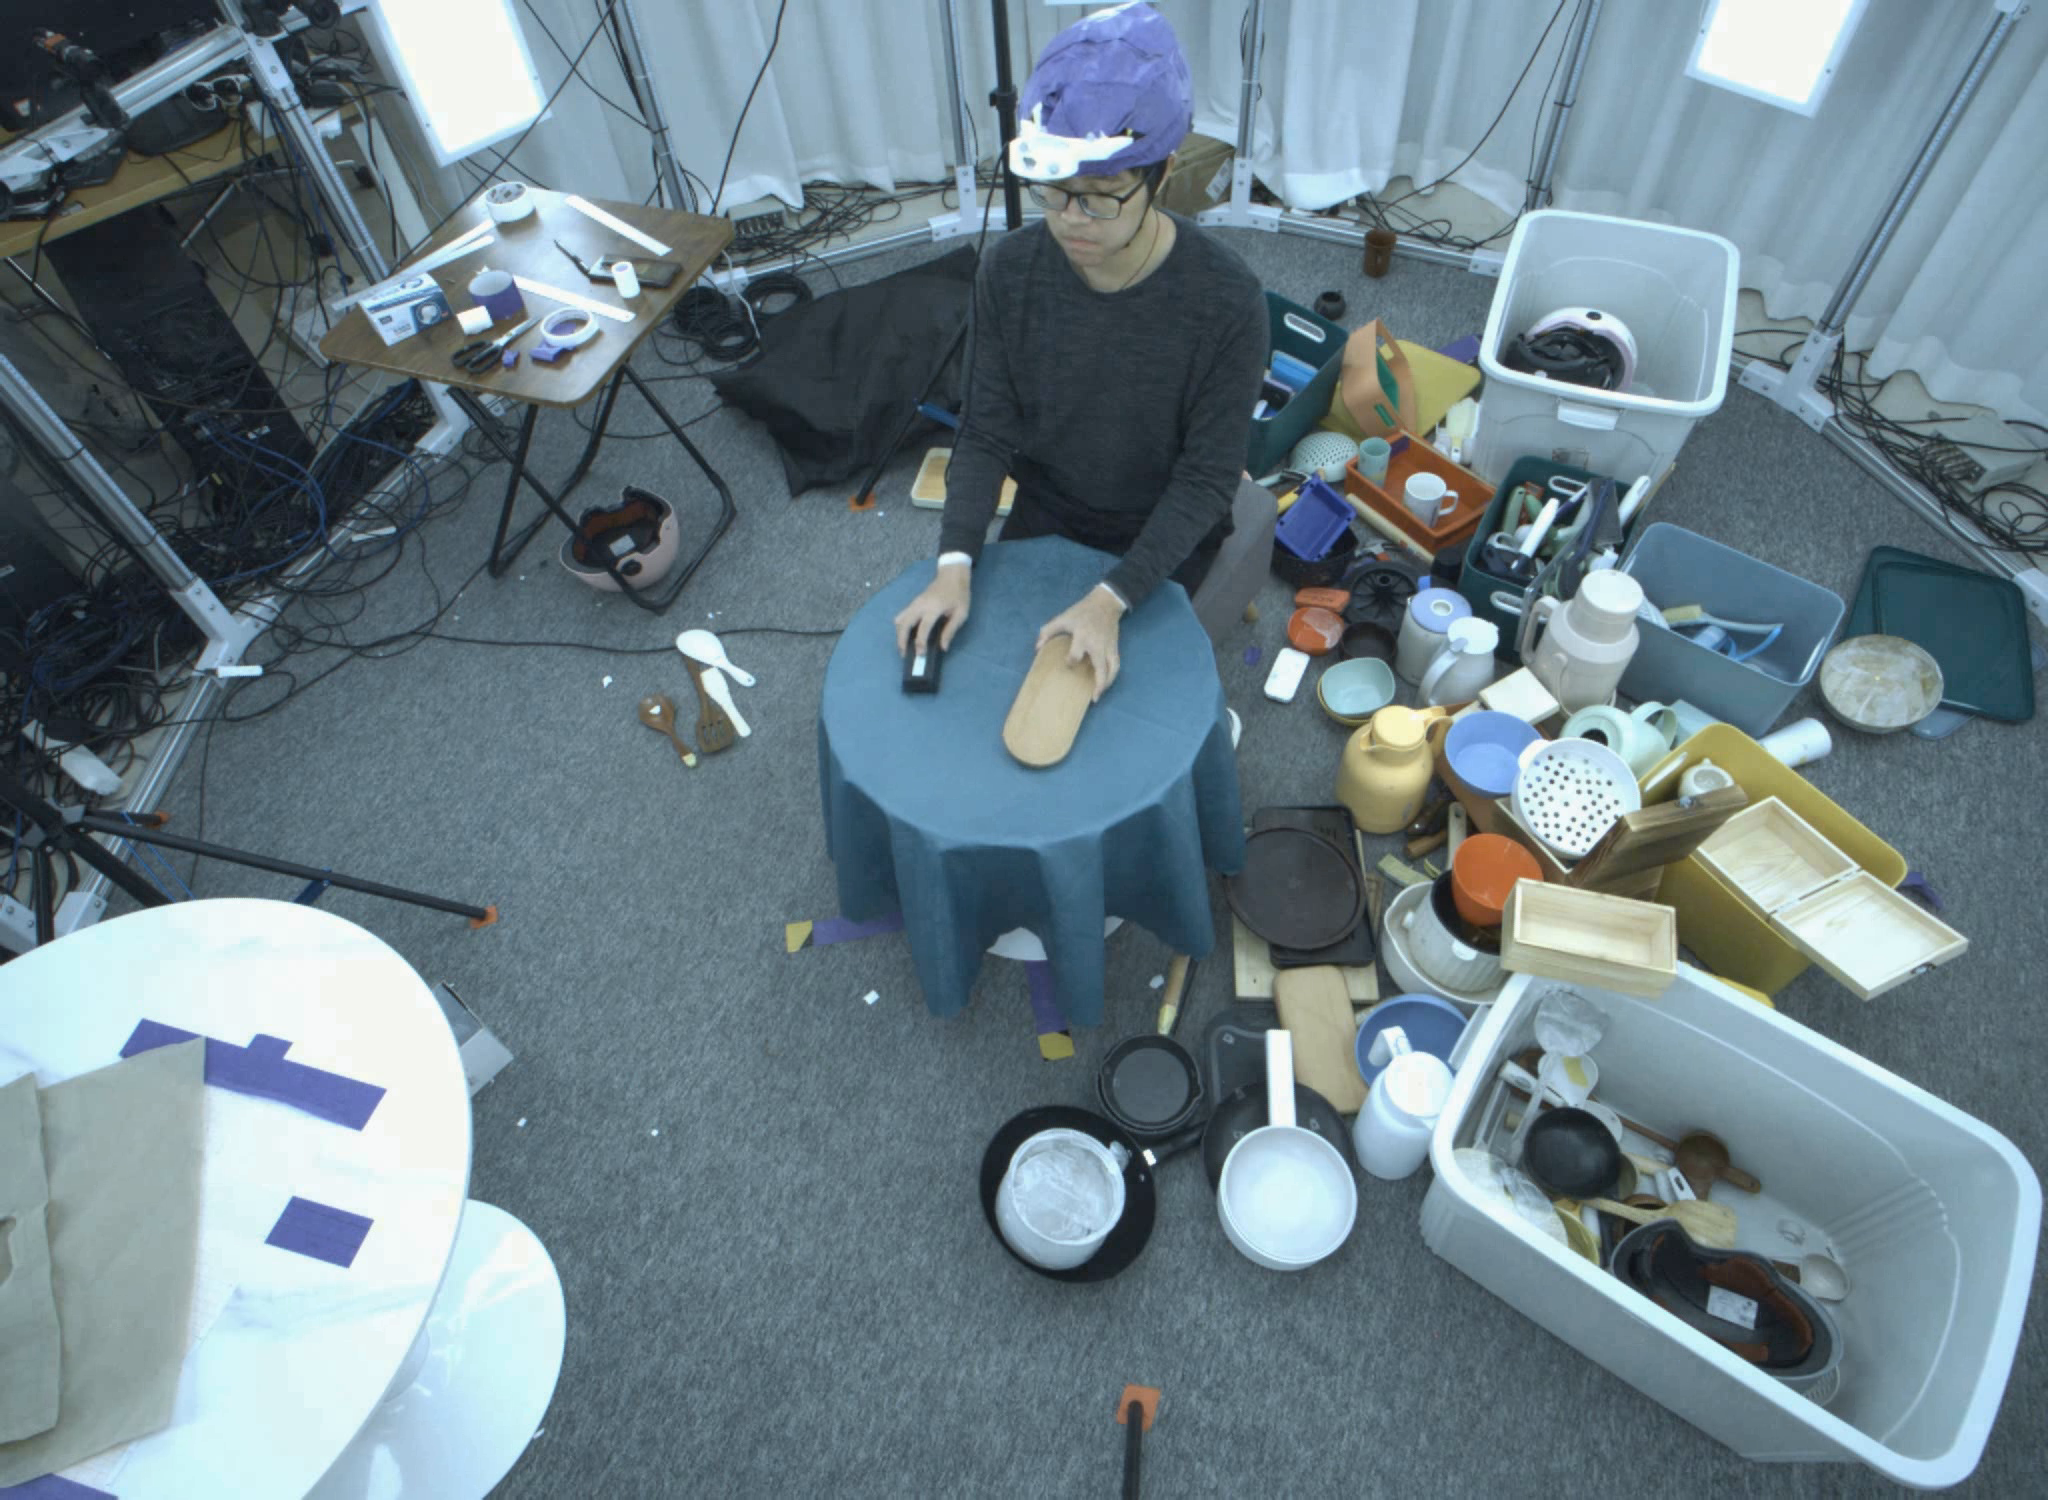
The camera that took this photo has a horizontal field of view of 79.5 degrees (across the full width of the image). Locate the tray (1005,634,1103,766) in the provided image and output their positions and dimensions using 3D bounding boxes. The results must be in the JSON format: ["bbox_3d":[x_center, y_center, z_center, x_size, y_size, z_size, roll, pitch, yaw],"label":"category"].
[{"bbox_3d":[0.045,-0.075,1.813,0.101,0.020,0.231,20,61,3],"label":"tray"}]

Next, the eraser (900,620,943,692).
[{"bbox_3d":[-0.156,-0.144,1.875,0.053,0.031,0.124,0,55,5],"label":"eraser"}]
